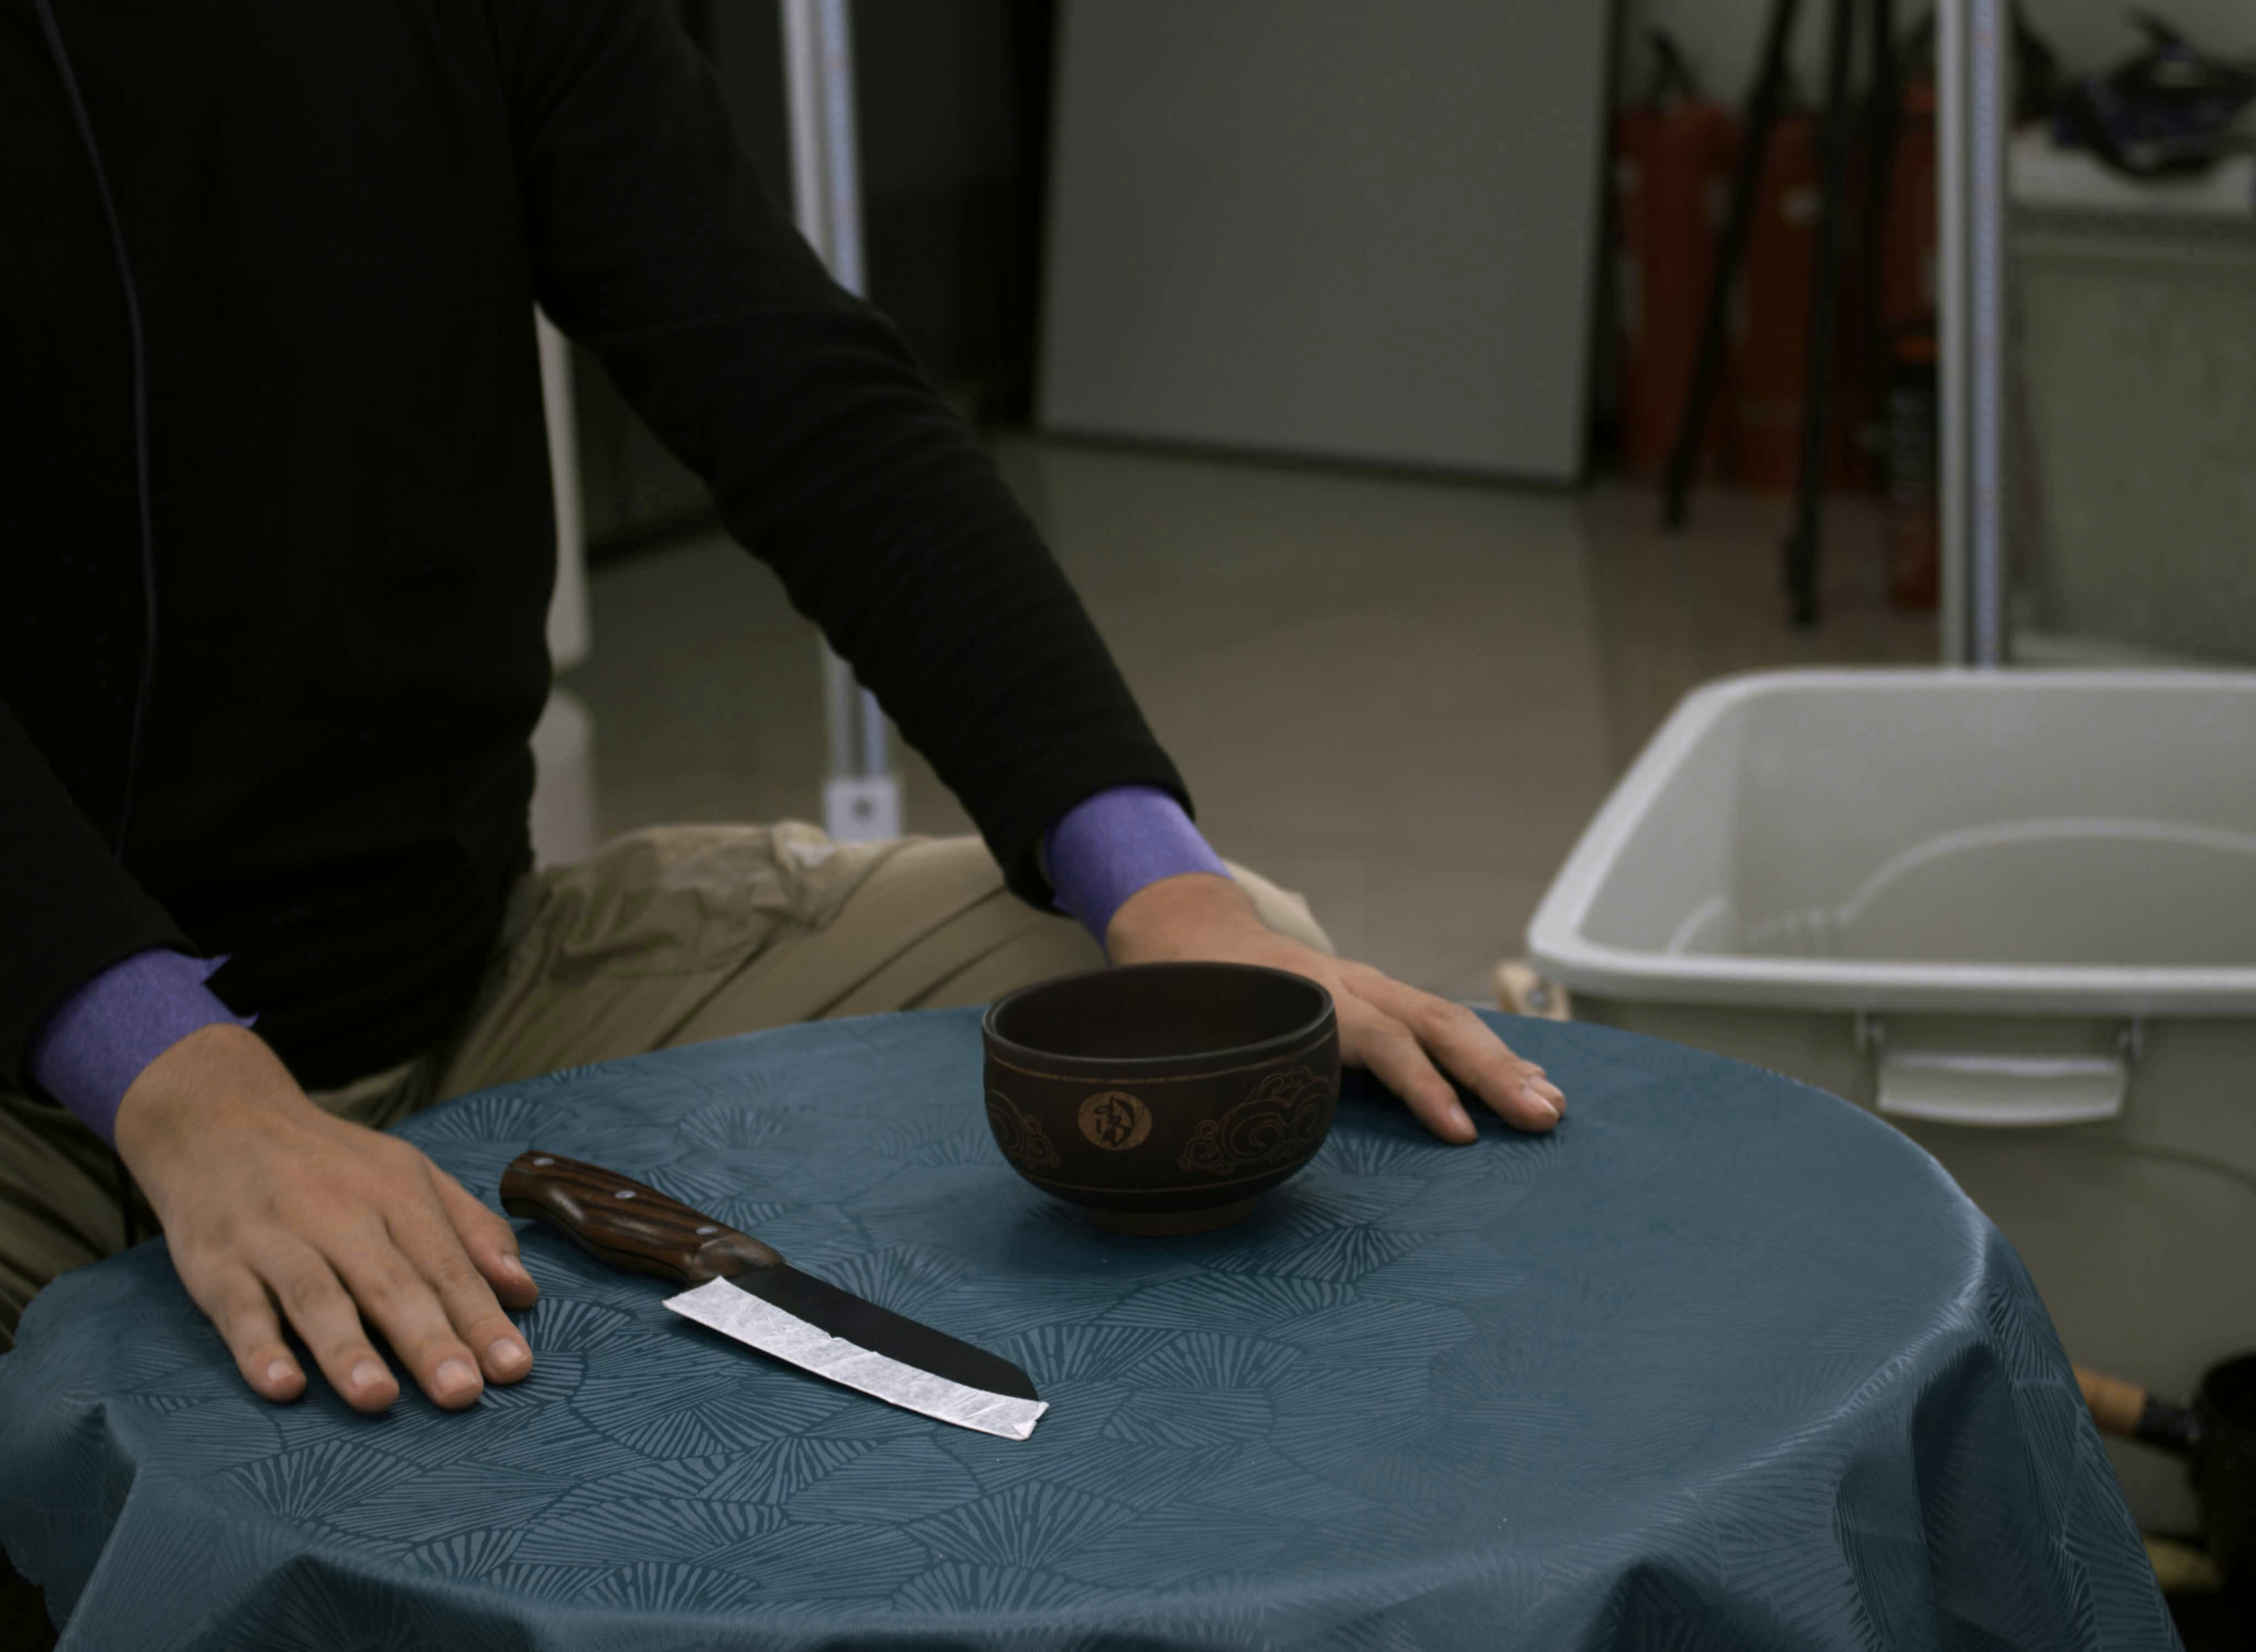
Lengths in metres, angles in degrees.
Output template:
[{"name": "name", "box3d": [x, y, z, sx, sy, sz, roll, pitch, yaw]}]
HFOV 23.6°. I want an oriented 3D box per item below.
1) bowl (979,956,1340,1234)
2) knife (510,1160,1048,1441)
[{"name": "bowl", "box3d": [0.011, 0.090, 1.744, 0.116, 0.070, 0.118, -4, 13, 0]}, {"name": "knife", "box3d": [-0.111, 0.148, 1.672, 0.049, 0.020, 0.292, -19, 22, -32]}]
